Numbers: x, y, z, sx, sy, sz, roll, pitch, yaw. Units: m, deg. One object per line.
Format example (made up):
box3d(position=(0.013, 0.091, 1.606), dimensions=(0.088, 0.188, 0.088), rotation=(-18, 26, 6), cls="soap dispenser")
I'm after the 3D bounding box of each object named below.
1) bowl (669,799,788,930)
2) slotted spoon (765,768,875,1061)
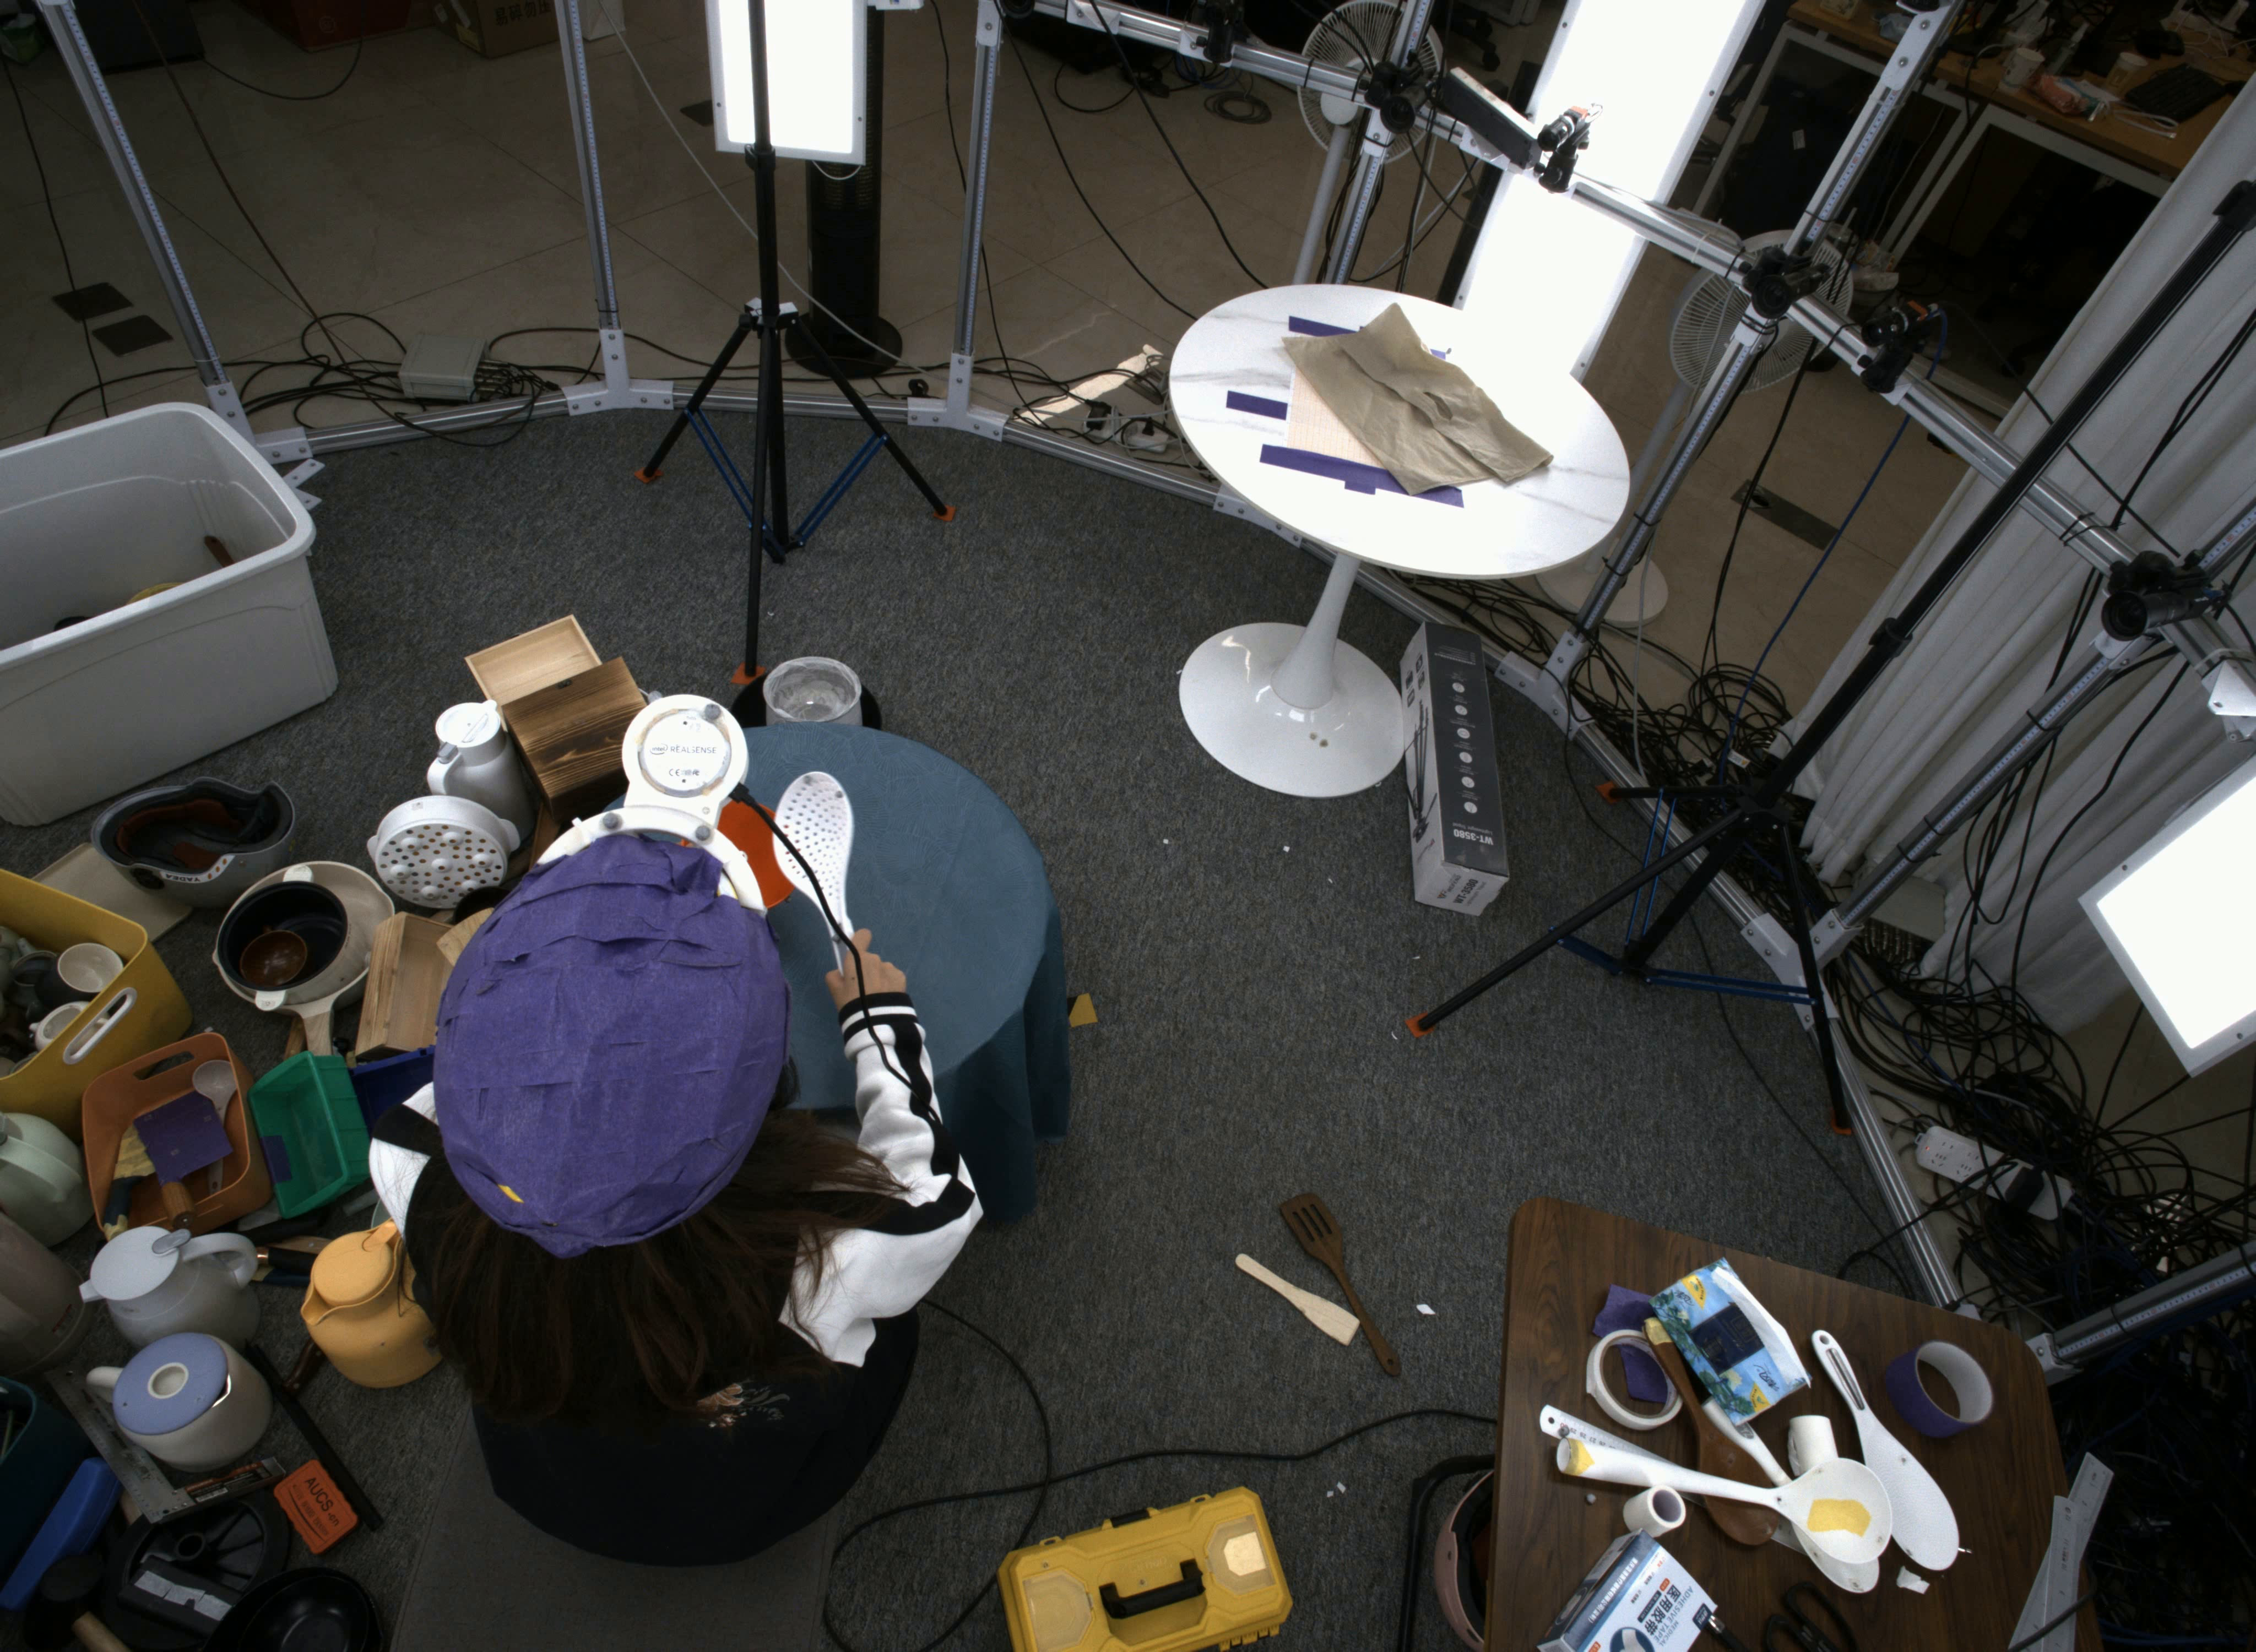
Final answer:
box3d(position=(-0.491, 0.058, 1.559), dimensions=(0.150, 0.105, 0.145), rotation=(22, 45, -22), cls="bowl")
box3d(position=(-0.342, 0.097, 1.481), dimensions=(0.047, 0.134, 0.344), rotation=(14, 53, -52), cls="slotted spoon")
